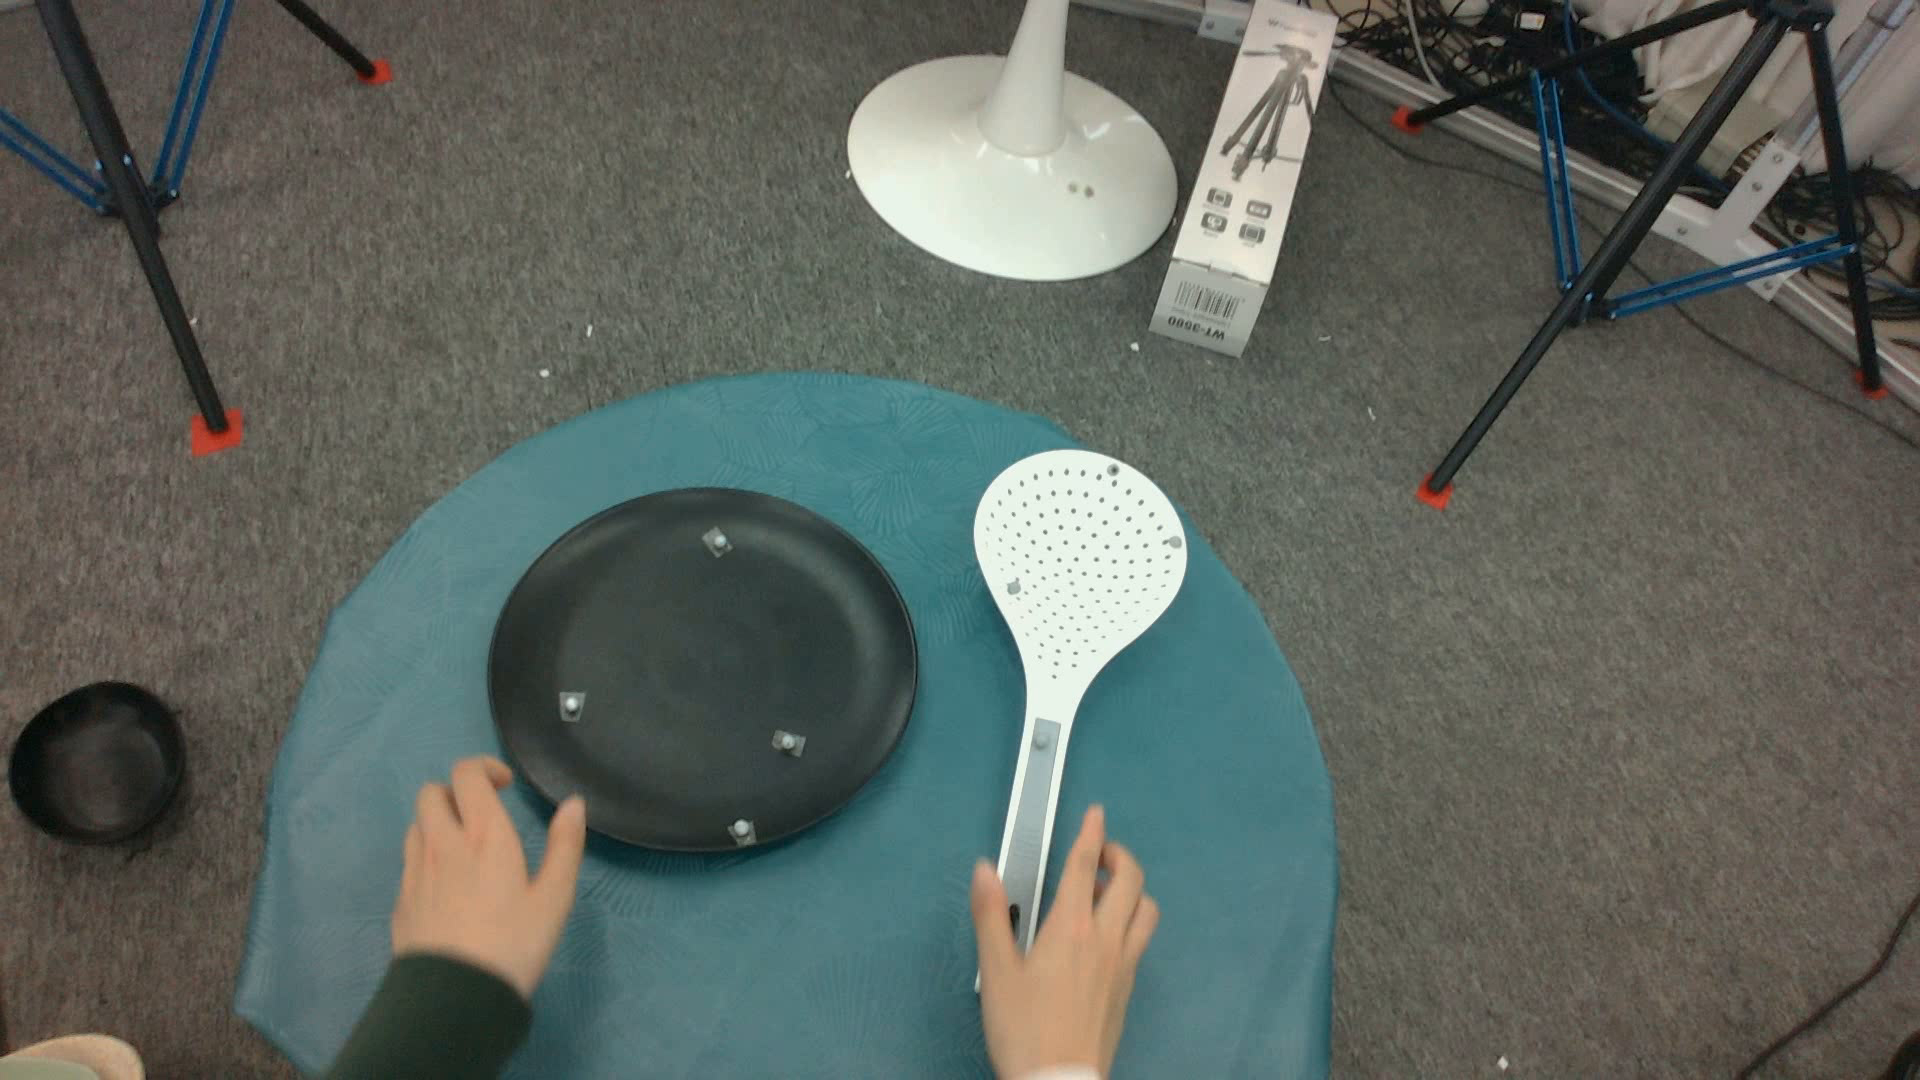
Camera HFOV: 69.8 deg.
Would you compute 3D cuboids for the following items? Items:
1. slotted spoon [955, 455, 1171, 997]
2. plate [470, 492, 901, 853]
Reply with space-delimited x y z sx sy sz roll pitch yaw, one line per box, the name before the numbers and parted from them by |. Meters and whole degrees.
slotted spoon | 0.045 0.094 0.815 0.136 0.045 0.351 13 52 0
plate | -0.156 0.072 0.803 0.244 0.023 0.245 6 52 -8
